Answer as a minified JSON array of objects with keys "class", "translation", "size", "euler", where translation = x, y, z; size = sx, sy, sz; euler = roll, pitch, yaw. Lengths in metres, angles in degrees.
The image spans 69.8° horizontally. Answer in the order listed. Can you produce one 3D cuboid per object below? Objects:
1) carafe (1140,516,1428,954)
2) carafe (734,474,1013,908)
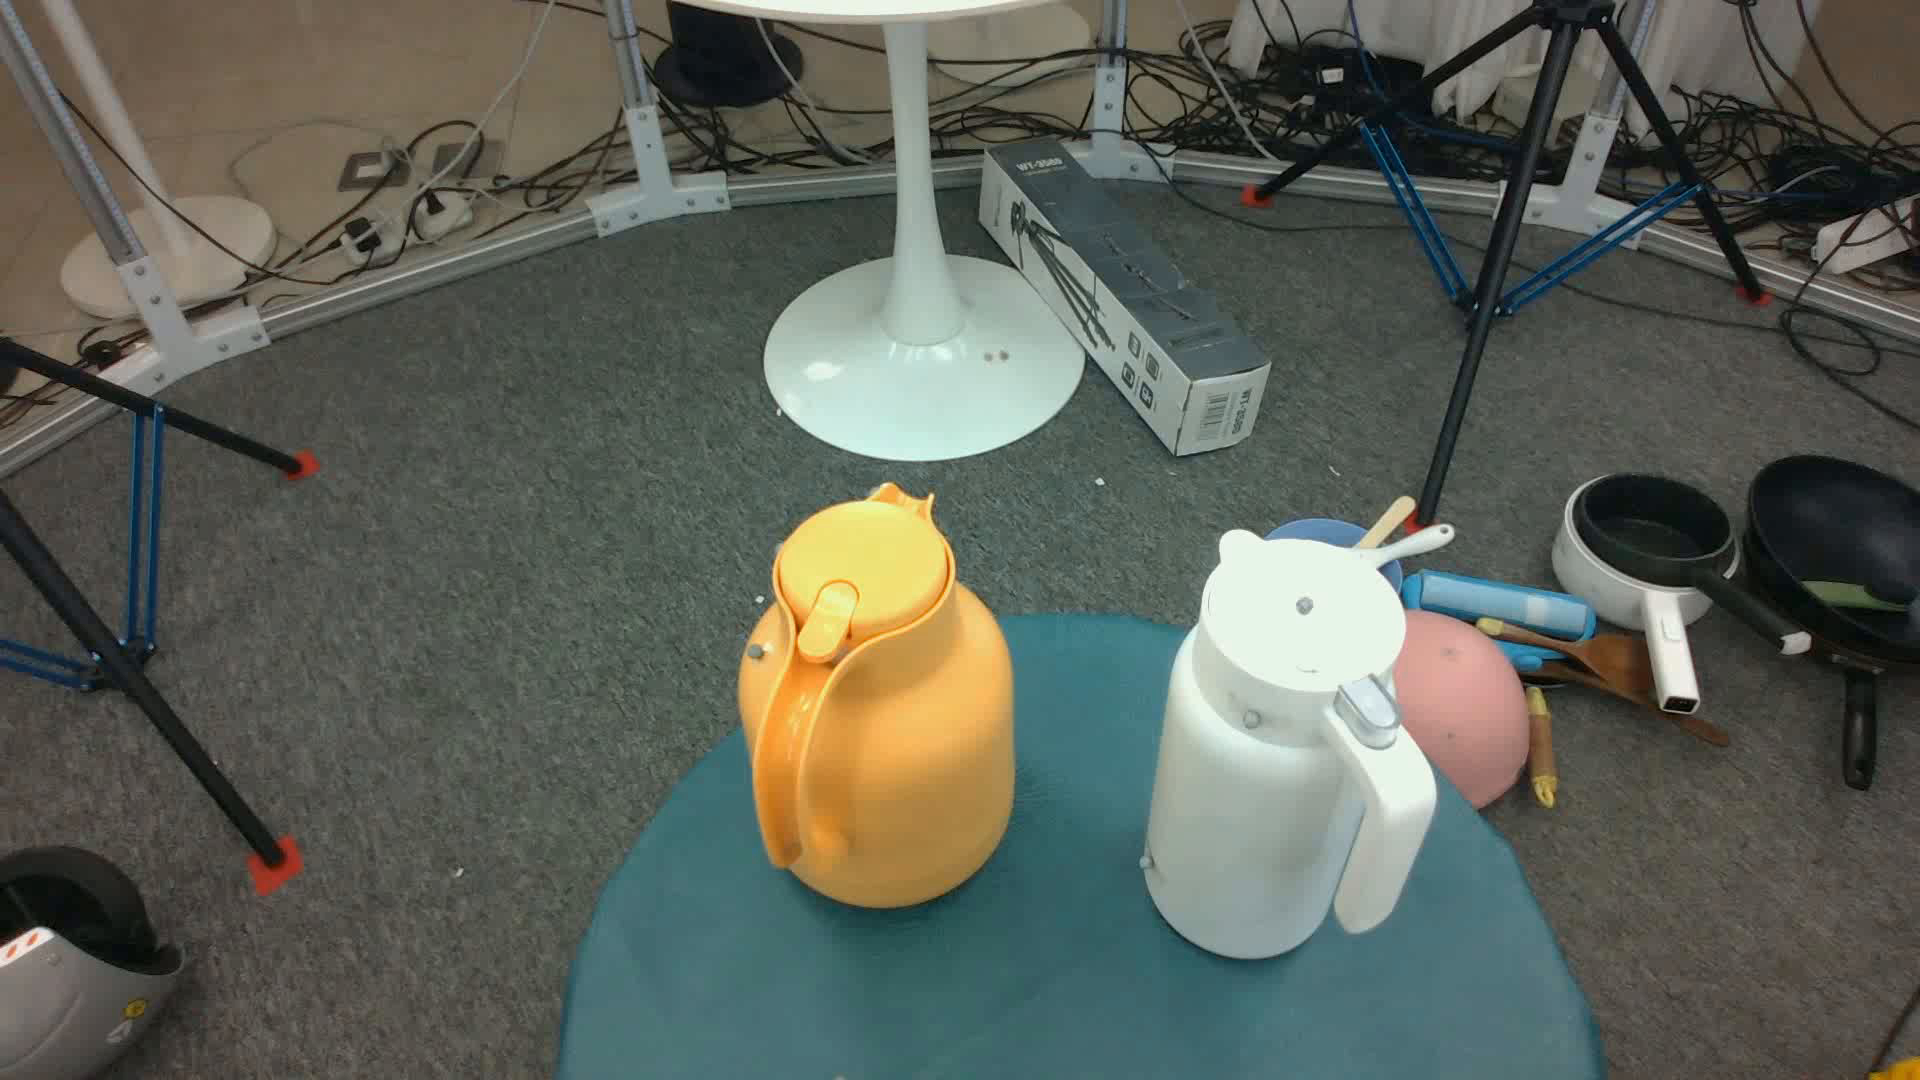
[{"class":"carafe","translation":[0.177,0.132,0.764],"size":[0.124,0.267,0.173],"euler":[-16,49,-16]},{"class":"carafe","translation":[-0.059,0.102,0.796],"size":[0.163,0.259,0.203],"euler":[15,47,18]}]
